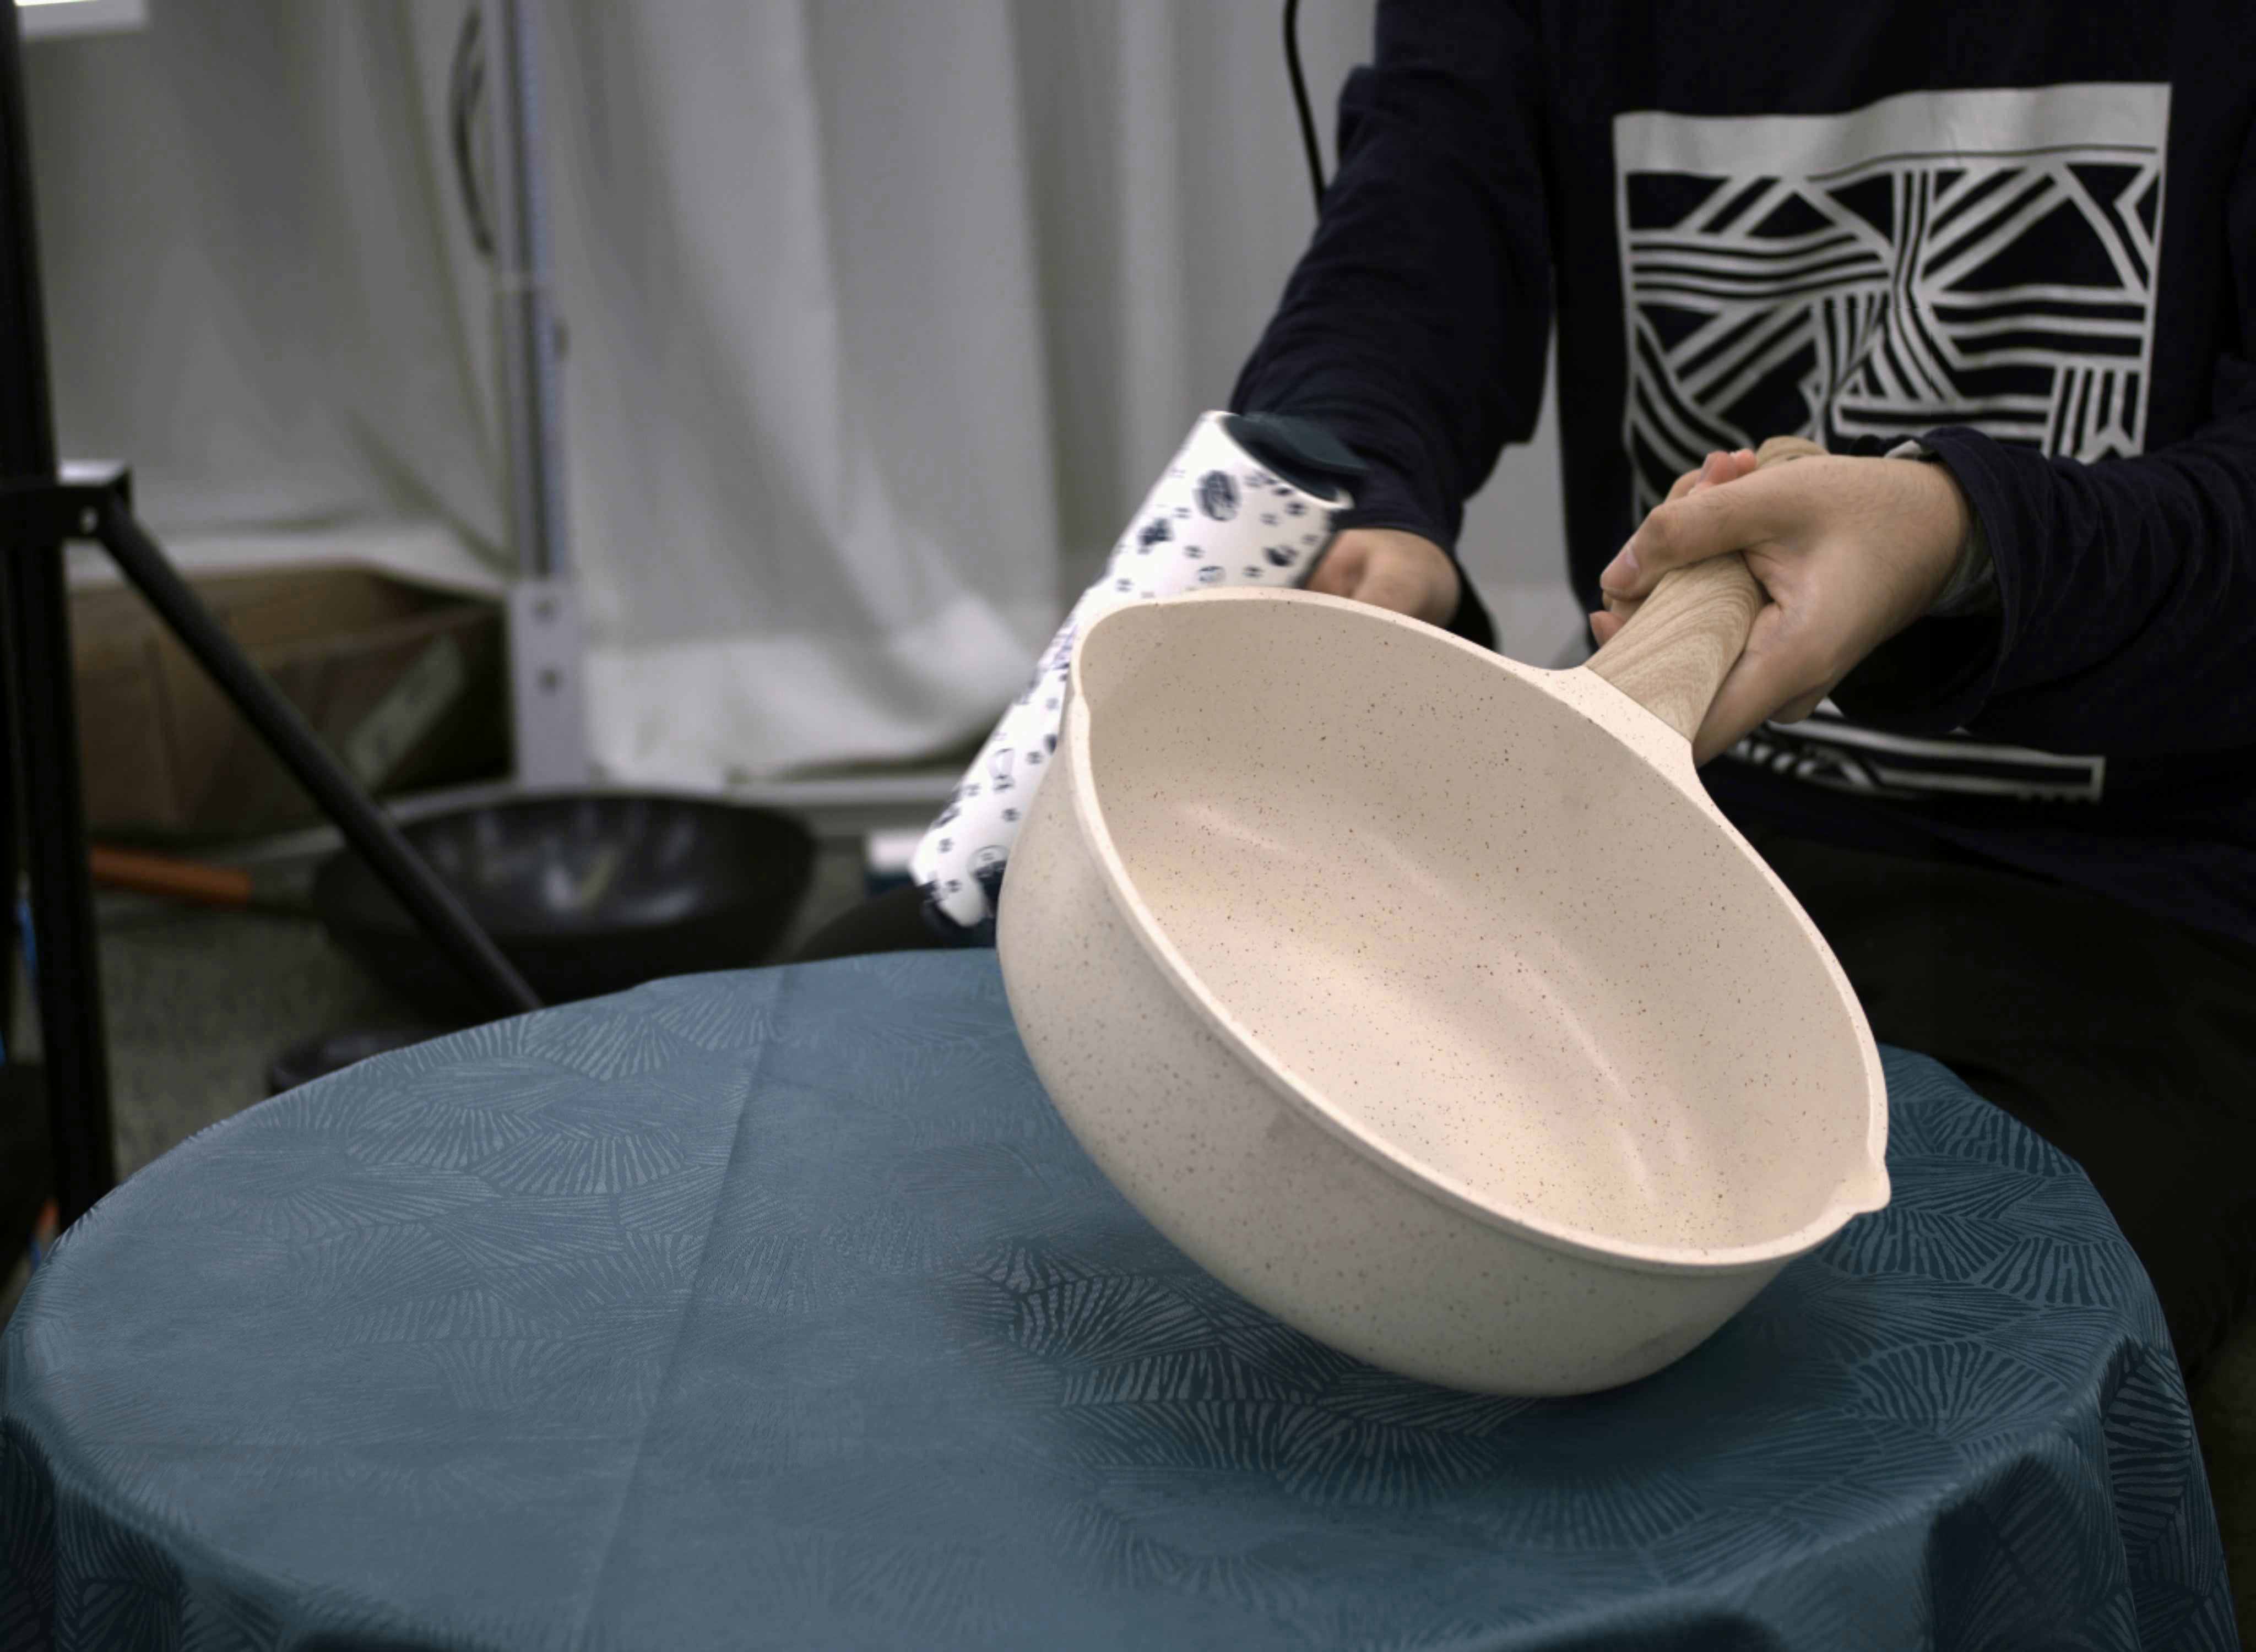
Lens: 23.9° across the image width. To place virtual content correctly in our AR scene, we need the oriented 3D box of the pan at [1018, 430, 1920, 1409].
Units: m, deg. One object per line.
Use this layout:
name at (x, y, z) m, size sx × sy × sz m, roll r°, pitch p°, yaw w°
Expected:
pan at (0.117, 0.009, 1.494) m, size 0.264 × 0.102 × 0.431 m, roll 33°, pitch 33°, yaw 5°

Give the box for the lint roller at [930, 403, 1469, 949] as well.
lint roller at (0.047, -0.041, 1.598) m, size 0.051 × 0.177 × 0.242 m, roll 40°, pitch 17°, yaw 20°
